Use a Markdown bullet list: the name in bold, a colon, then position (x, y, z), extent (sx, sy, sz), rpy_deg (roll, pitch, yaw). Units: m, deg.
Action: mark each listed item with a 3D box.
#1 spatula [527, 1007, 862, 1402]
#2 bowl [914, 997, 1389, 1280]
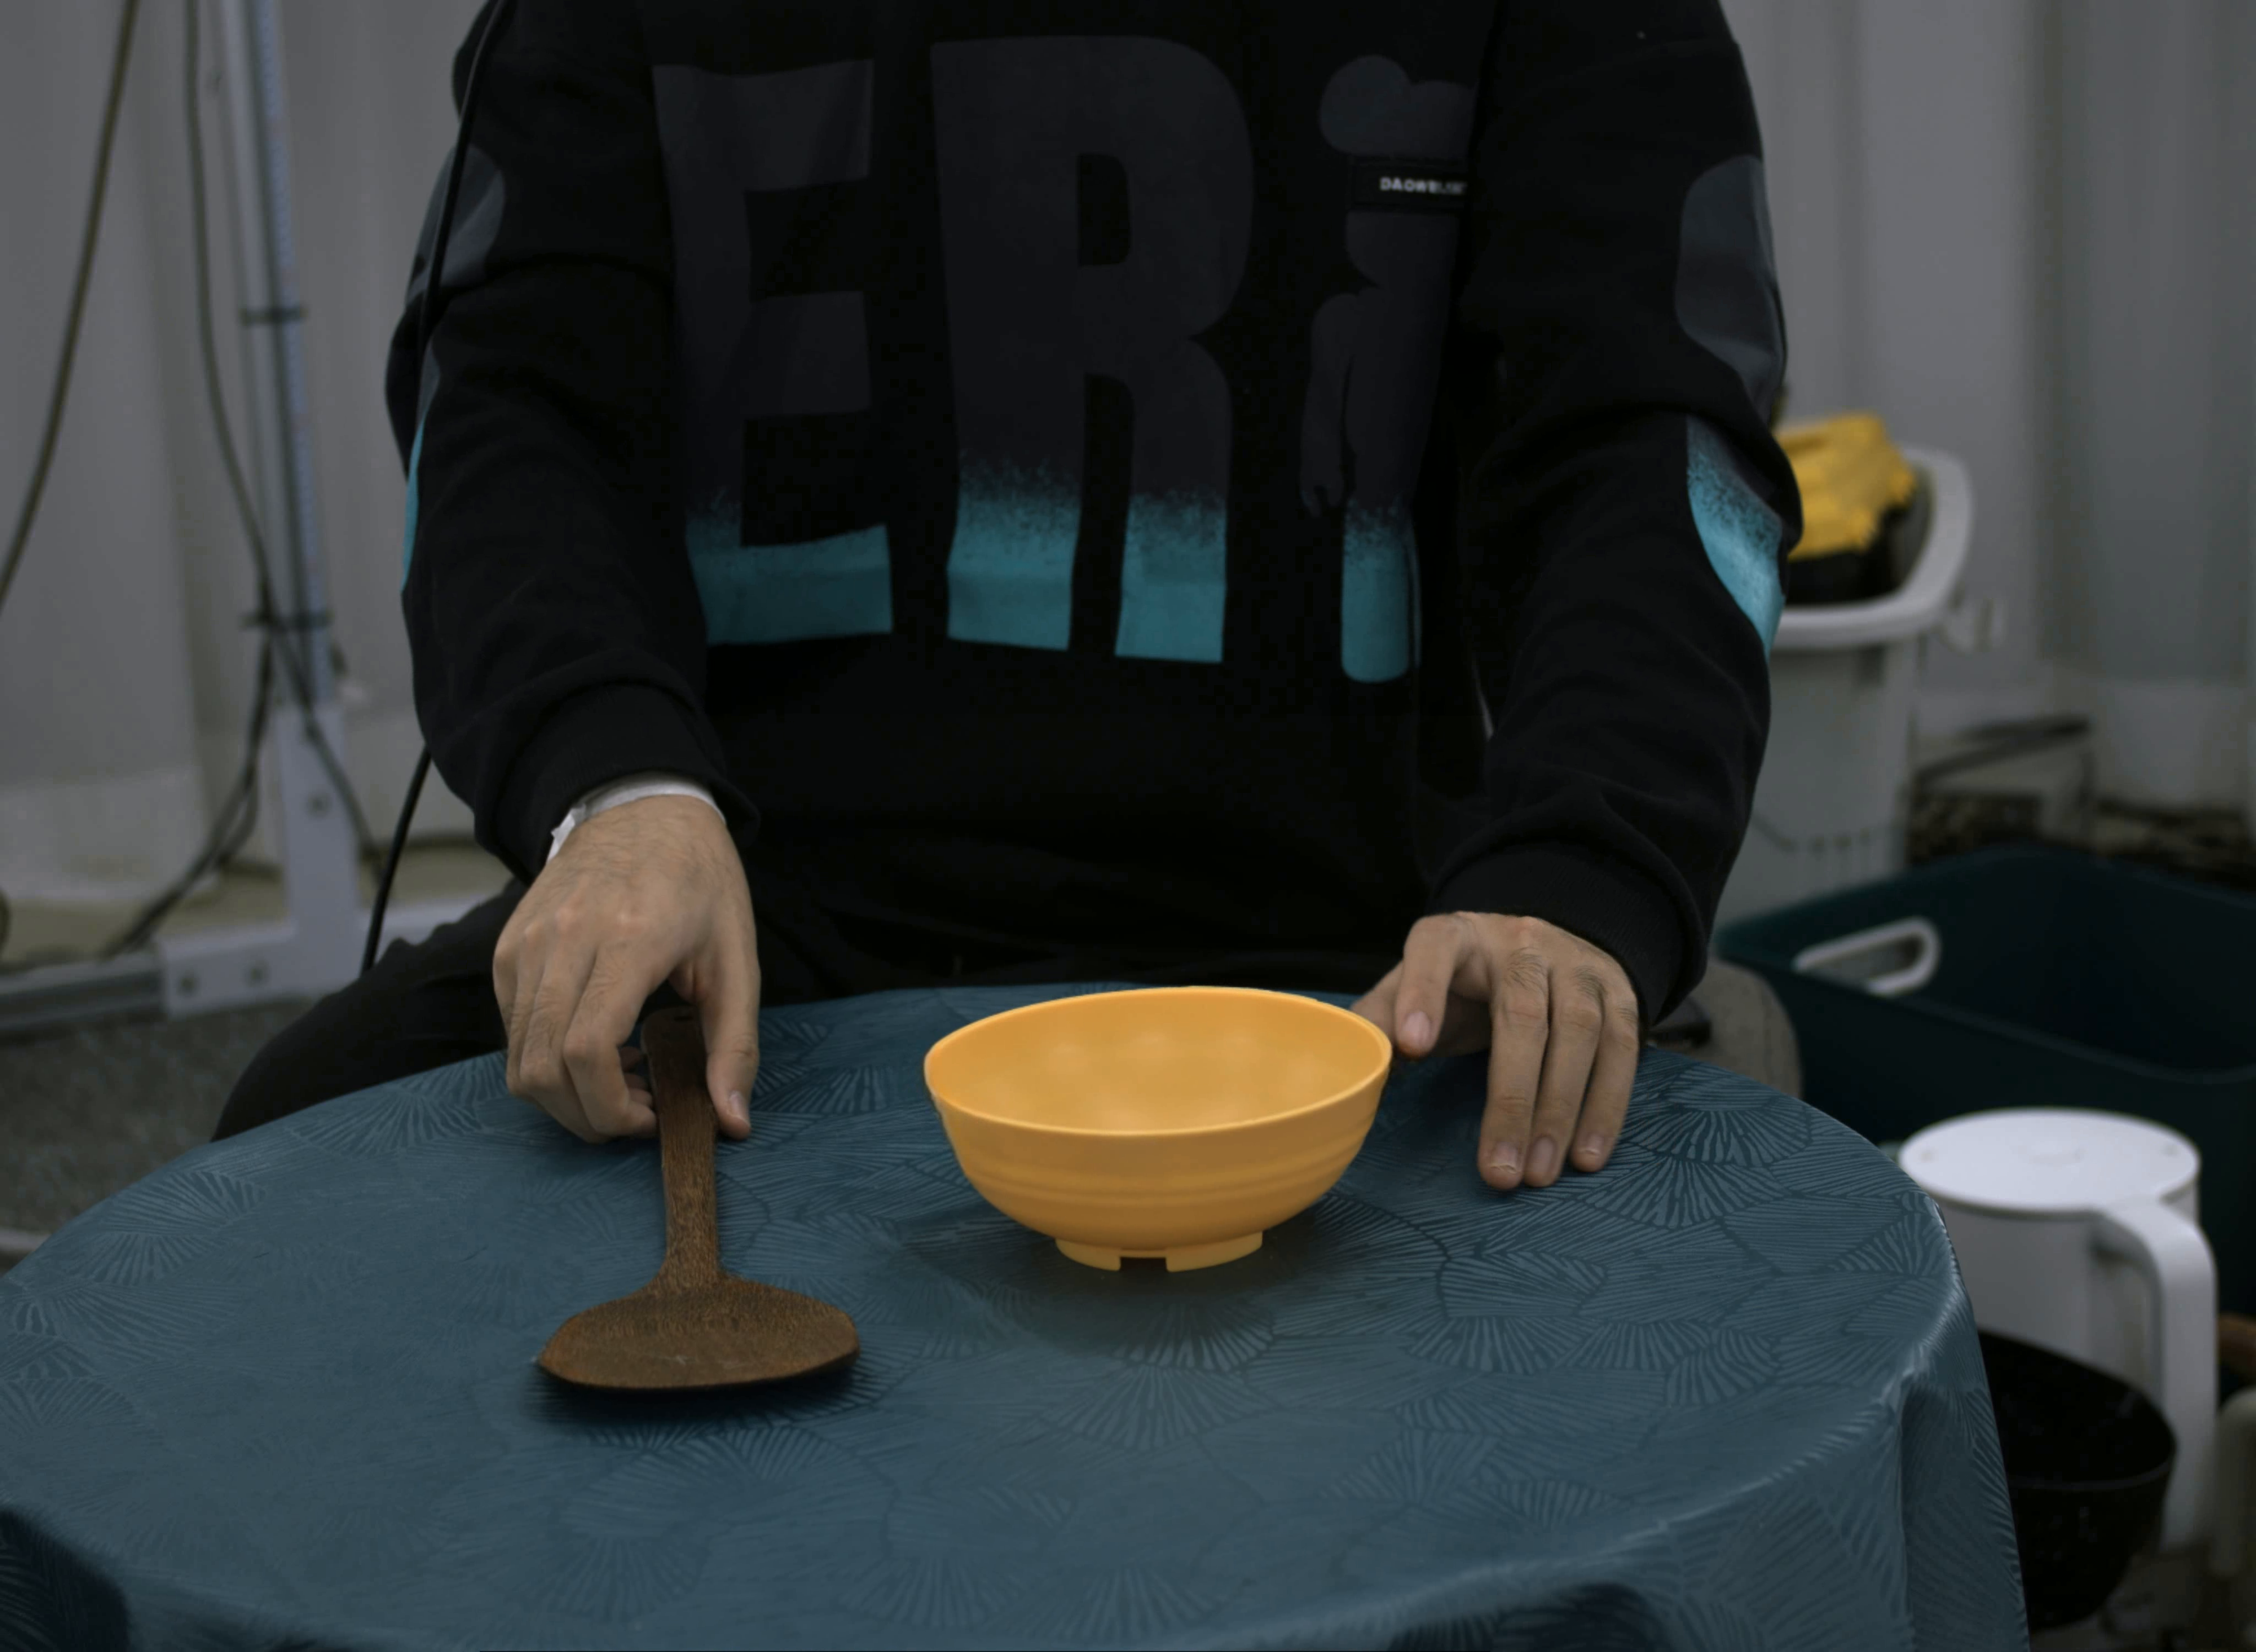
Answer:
- **spatula**: position (-0.139, 0.113, 1.720), extent (0.096, 0.016, 0.389), rpy_deg (-4, 15, -5)
- **bowl**: position (0.007, 0.100, 1.664), extent (0.145, 0.060, 0.146), rpy_deg (0, 14, 0)
